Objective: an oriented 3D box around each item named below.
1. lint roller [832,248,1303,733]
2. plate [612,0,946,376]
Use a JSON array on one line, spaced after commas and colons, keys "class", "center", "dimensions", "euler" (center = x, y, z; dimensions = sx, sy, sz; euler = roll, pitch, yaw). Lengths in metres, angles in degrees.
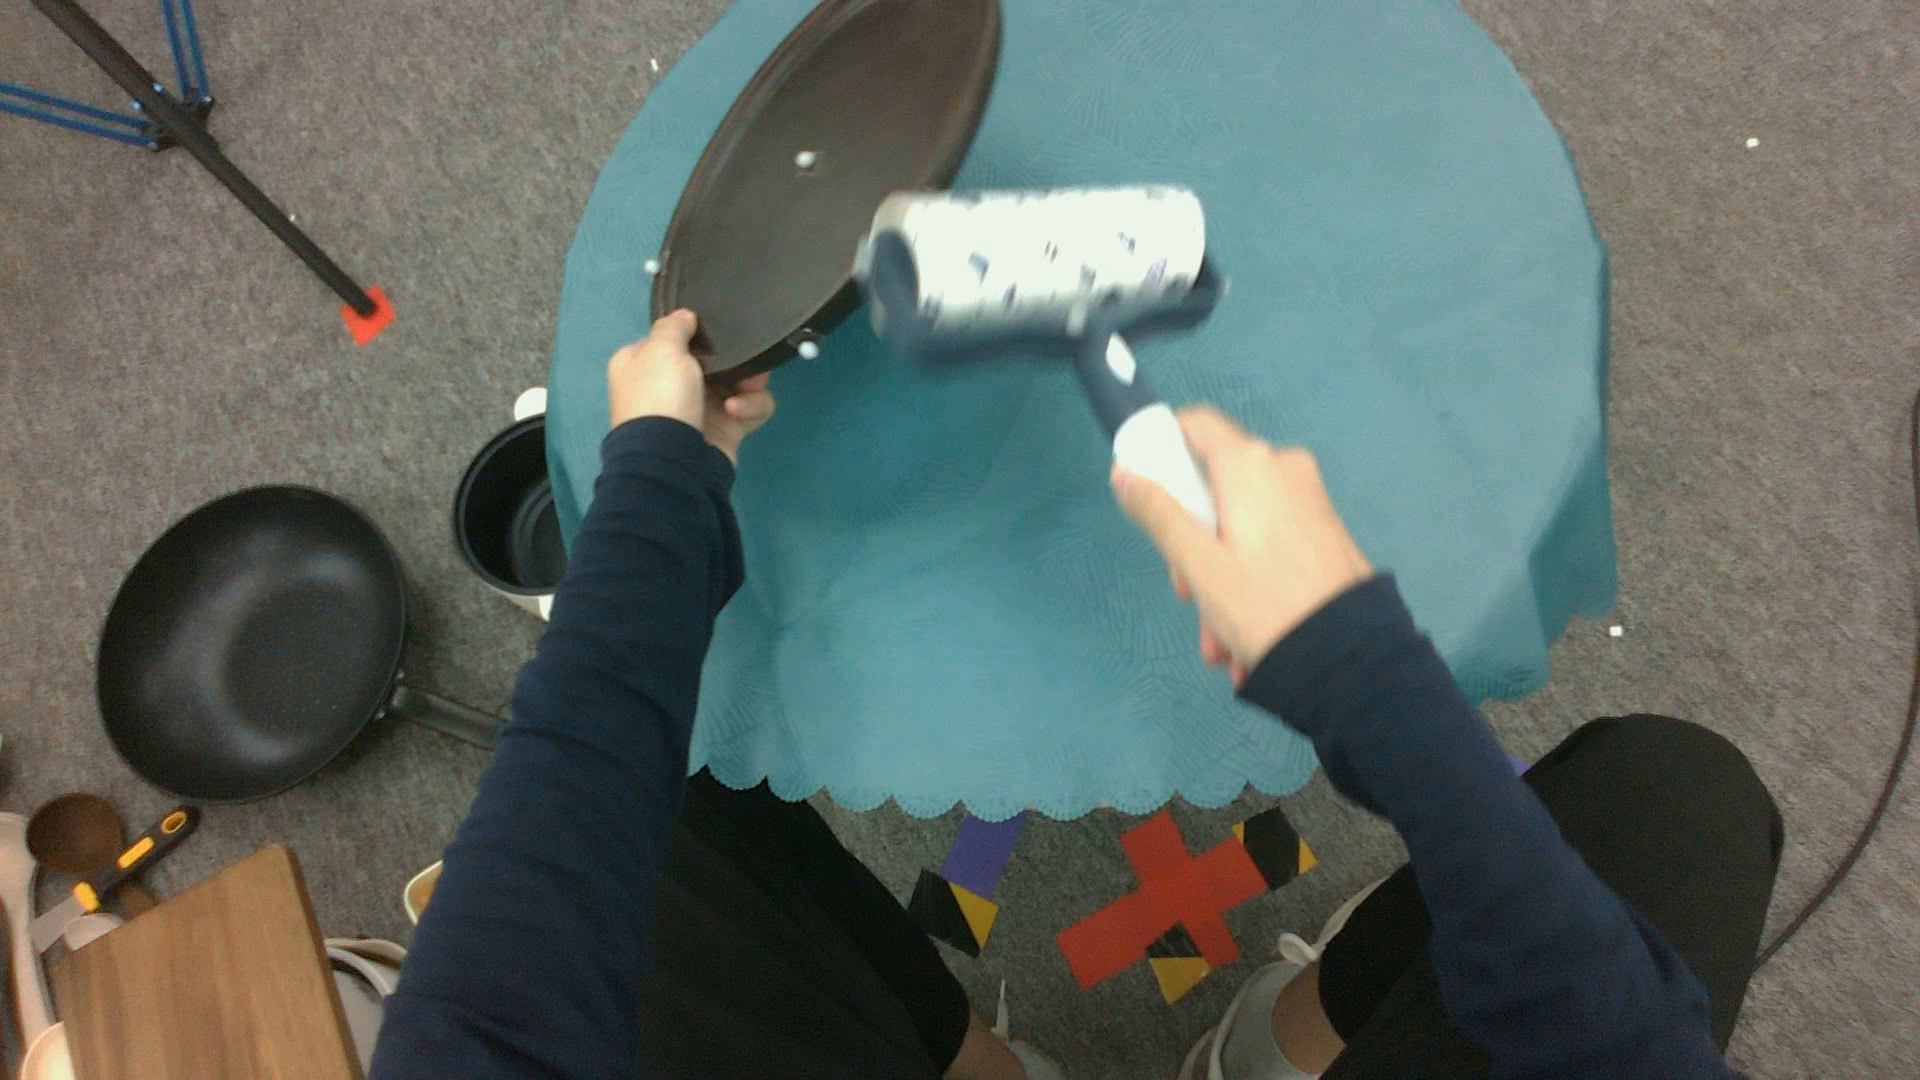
[{"class": "lint roller", "center": [0.074, -0.028, 0.592], "dimensions": [0.177, 0.050, 0.247], "euler": [-16, 60, -34]}, {"class": "plate", "center": [-0.097, -0.197, 0.707], "dimensions": [0.253, 0.029, 0.256], "euler": [-27, 50, 38]}]
